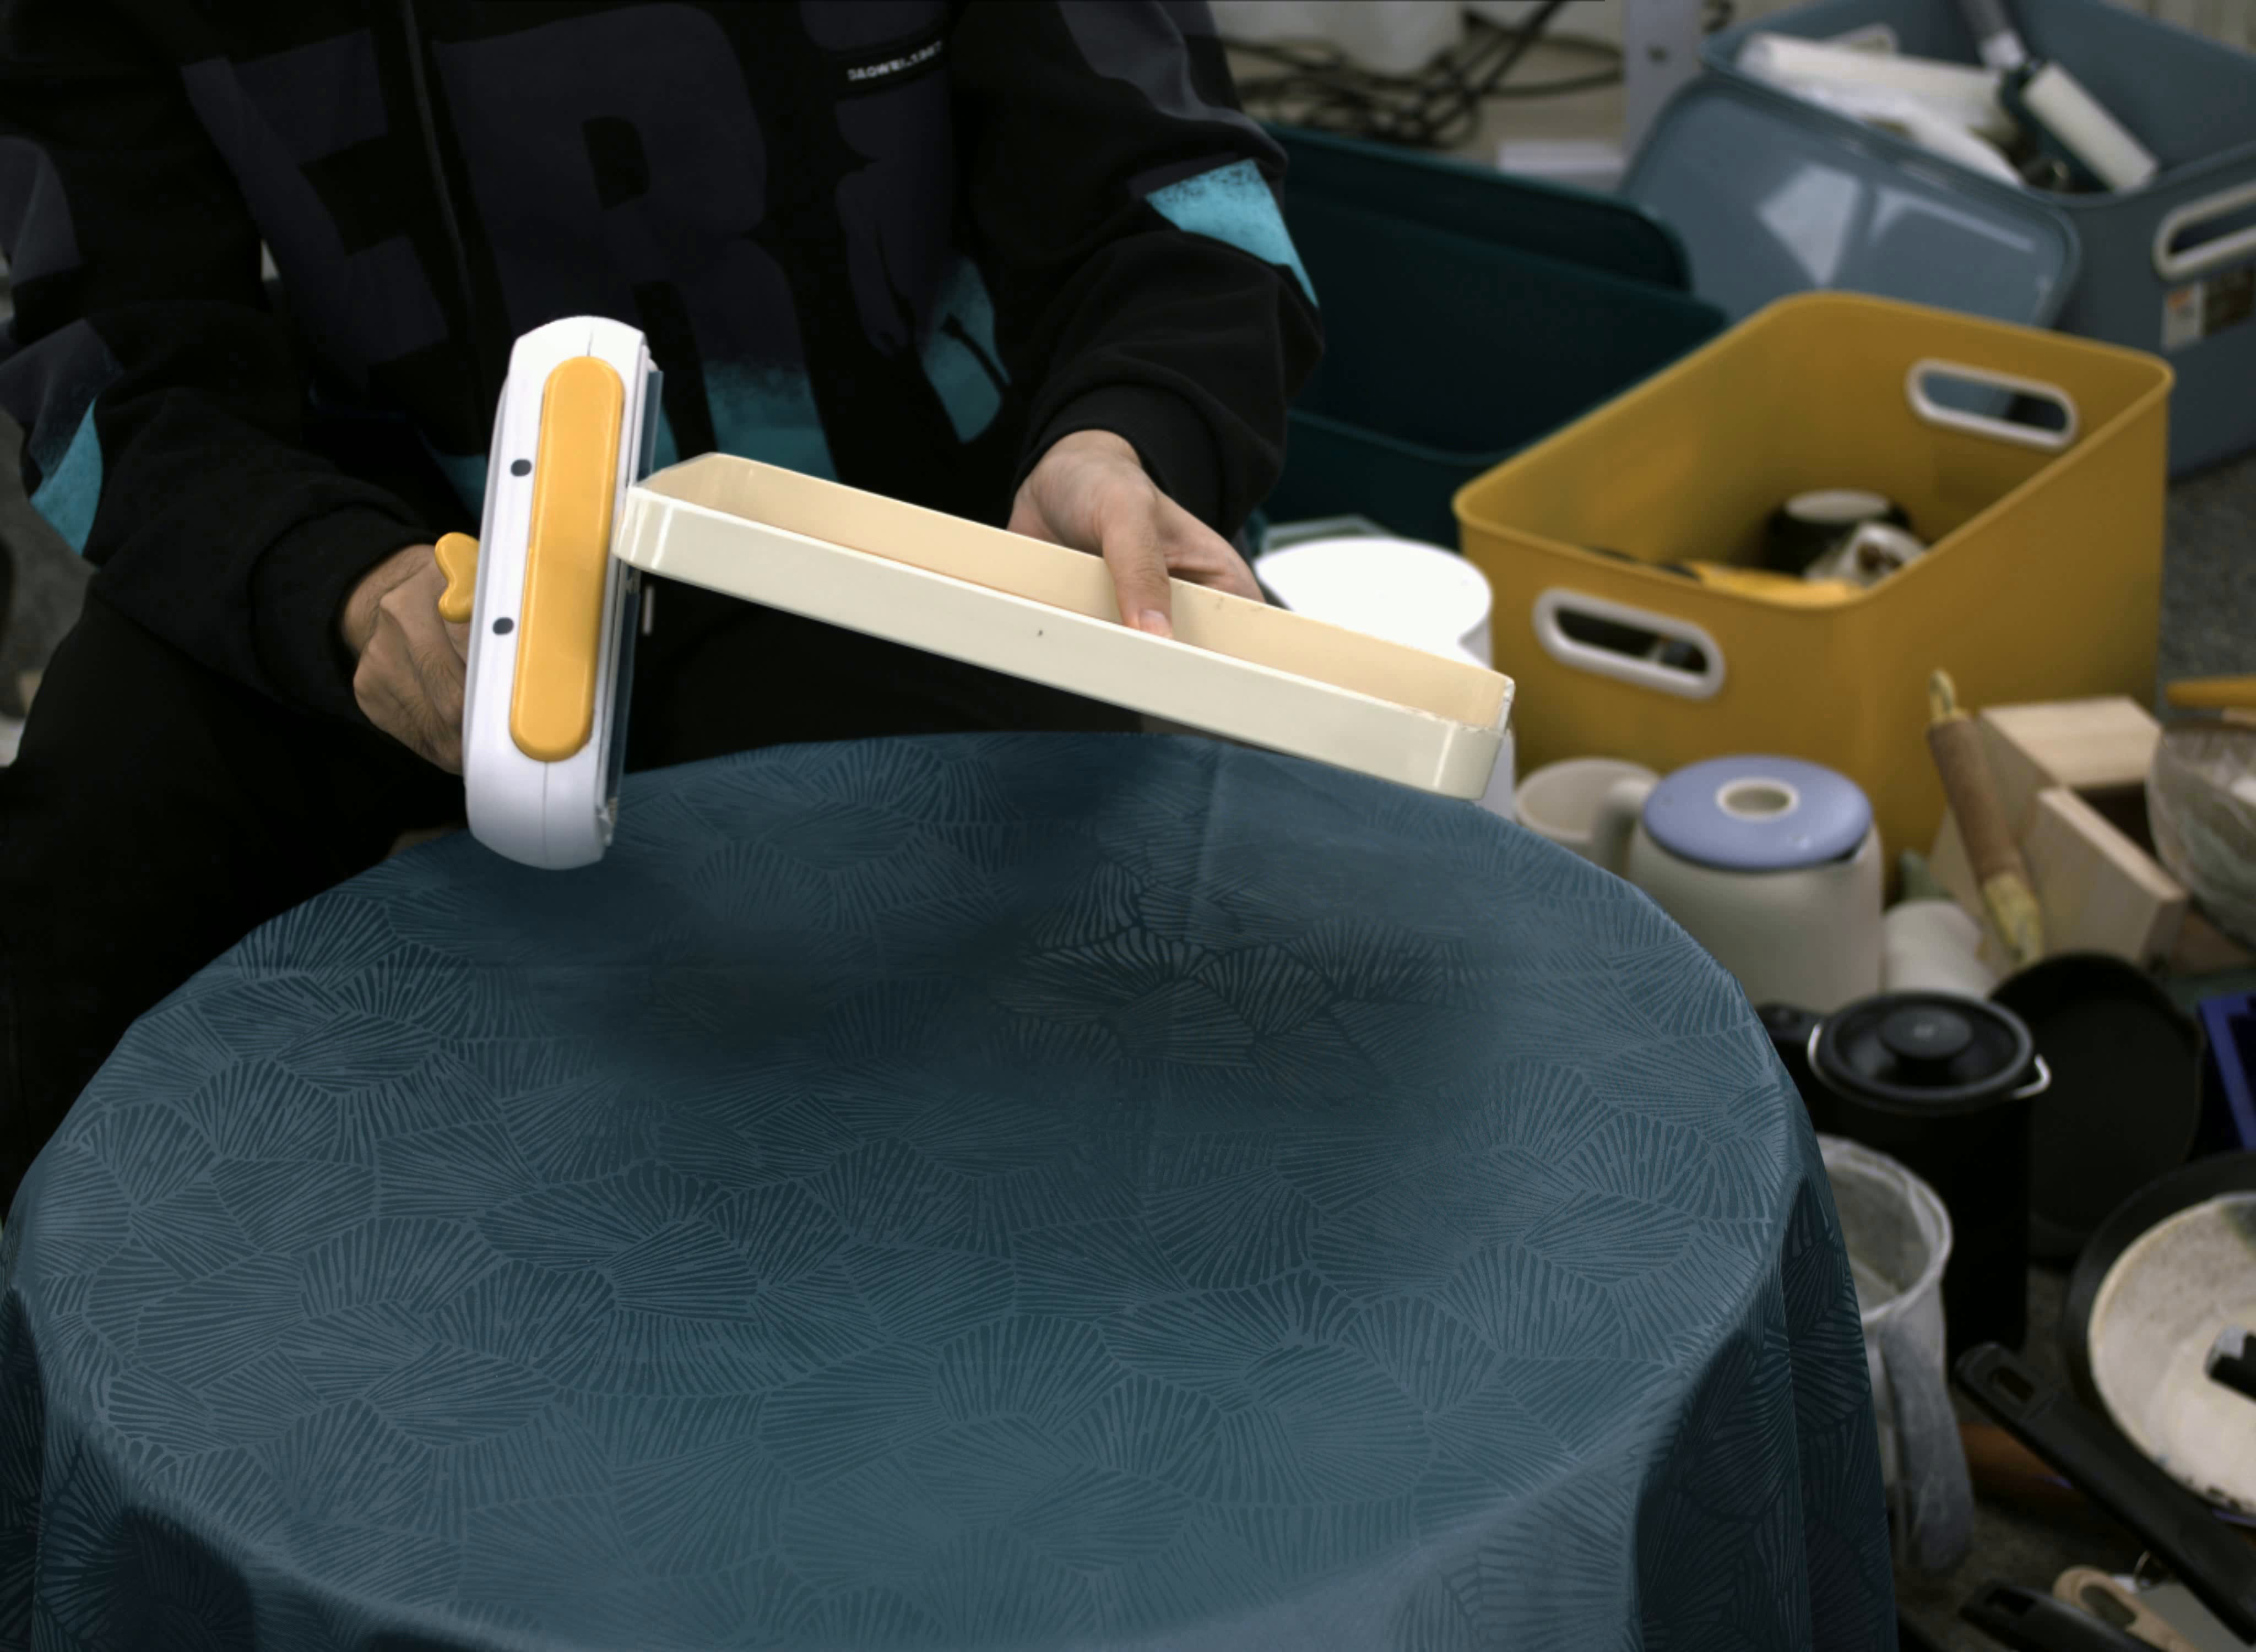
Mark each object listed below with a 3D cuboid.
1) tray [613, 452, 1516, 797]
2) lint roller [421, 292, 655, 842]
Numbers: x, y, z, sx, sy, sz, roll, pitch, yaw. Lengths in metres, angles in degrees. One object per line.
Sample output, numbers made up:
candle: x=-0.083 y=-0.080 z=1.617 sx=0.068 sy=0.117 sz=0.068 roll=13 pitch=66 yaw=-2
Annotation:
tray: x=-0.017 y=-0.070 z=1.912 sx=0.299 sy=0.027 sz=0.192 roll=17 pitch=7 yaw=4
lint roller: x=-0.210 y=-0.067 z=1.961 sx=0.074 sy=0.189 sz=0.196 roll=4 pitch=66 yaw=-10
